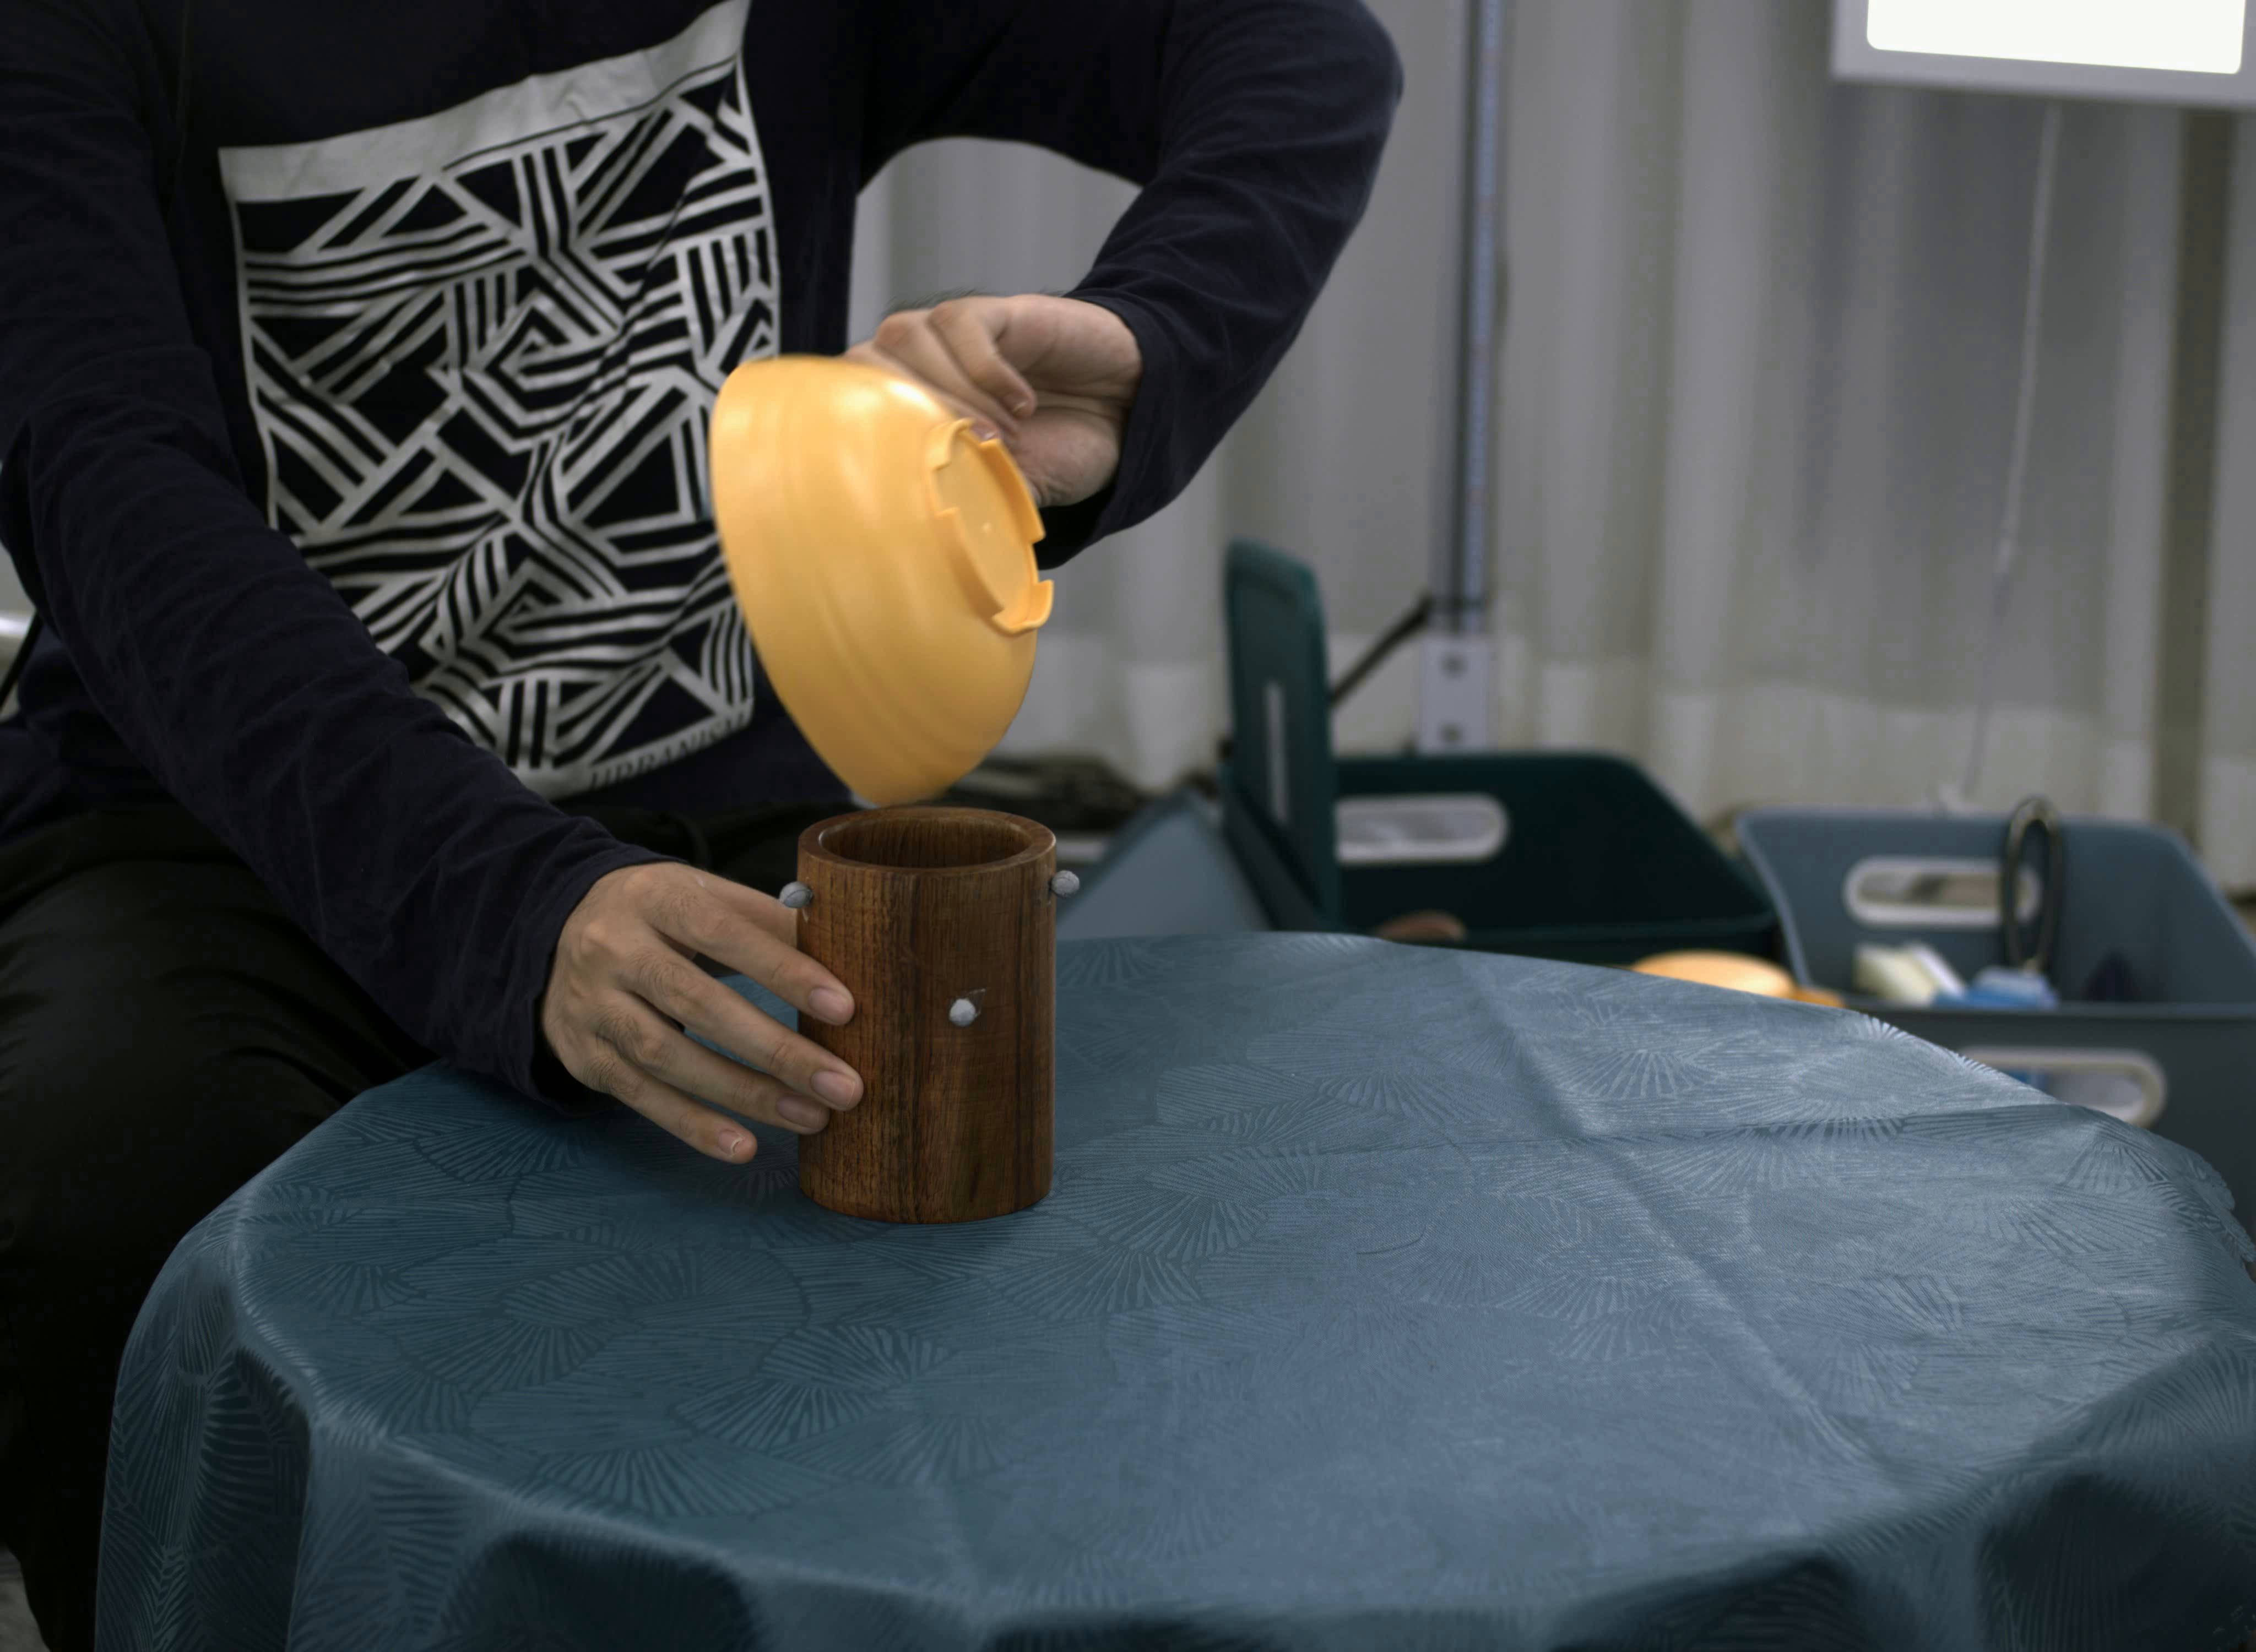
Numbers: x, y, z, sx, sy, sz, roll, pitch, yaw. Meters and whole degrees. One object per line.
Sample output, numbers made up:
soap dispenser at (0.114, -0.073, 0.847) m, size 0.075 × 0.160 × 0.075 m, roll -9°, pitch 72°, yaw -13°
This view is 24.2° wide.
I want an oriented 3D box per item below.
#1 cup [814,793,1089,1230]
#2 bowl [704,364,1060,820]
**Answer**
cup at (-0.056, 0.055, 1.609) m, size 0.087 × 0.119 × 0.087 m, roll 4°, pitch 14°, yaw 0°
bowl at (-0.062, -0.080, 1.573) m, size 0.060 × 0.146 × 0.145 m, roll -22°, pitch 7°, yaw 24°
